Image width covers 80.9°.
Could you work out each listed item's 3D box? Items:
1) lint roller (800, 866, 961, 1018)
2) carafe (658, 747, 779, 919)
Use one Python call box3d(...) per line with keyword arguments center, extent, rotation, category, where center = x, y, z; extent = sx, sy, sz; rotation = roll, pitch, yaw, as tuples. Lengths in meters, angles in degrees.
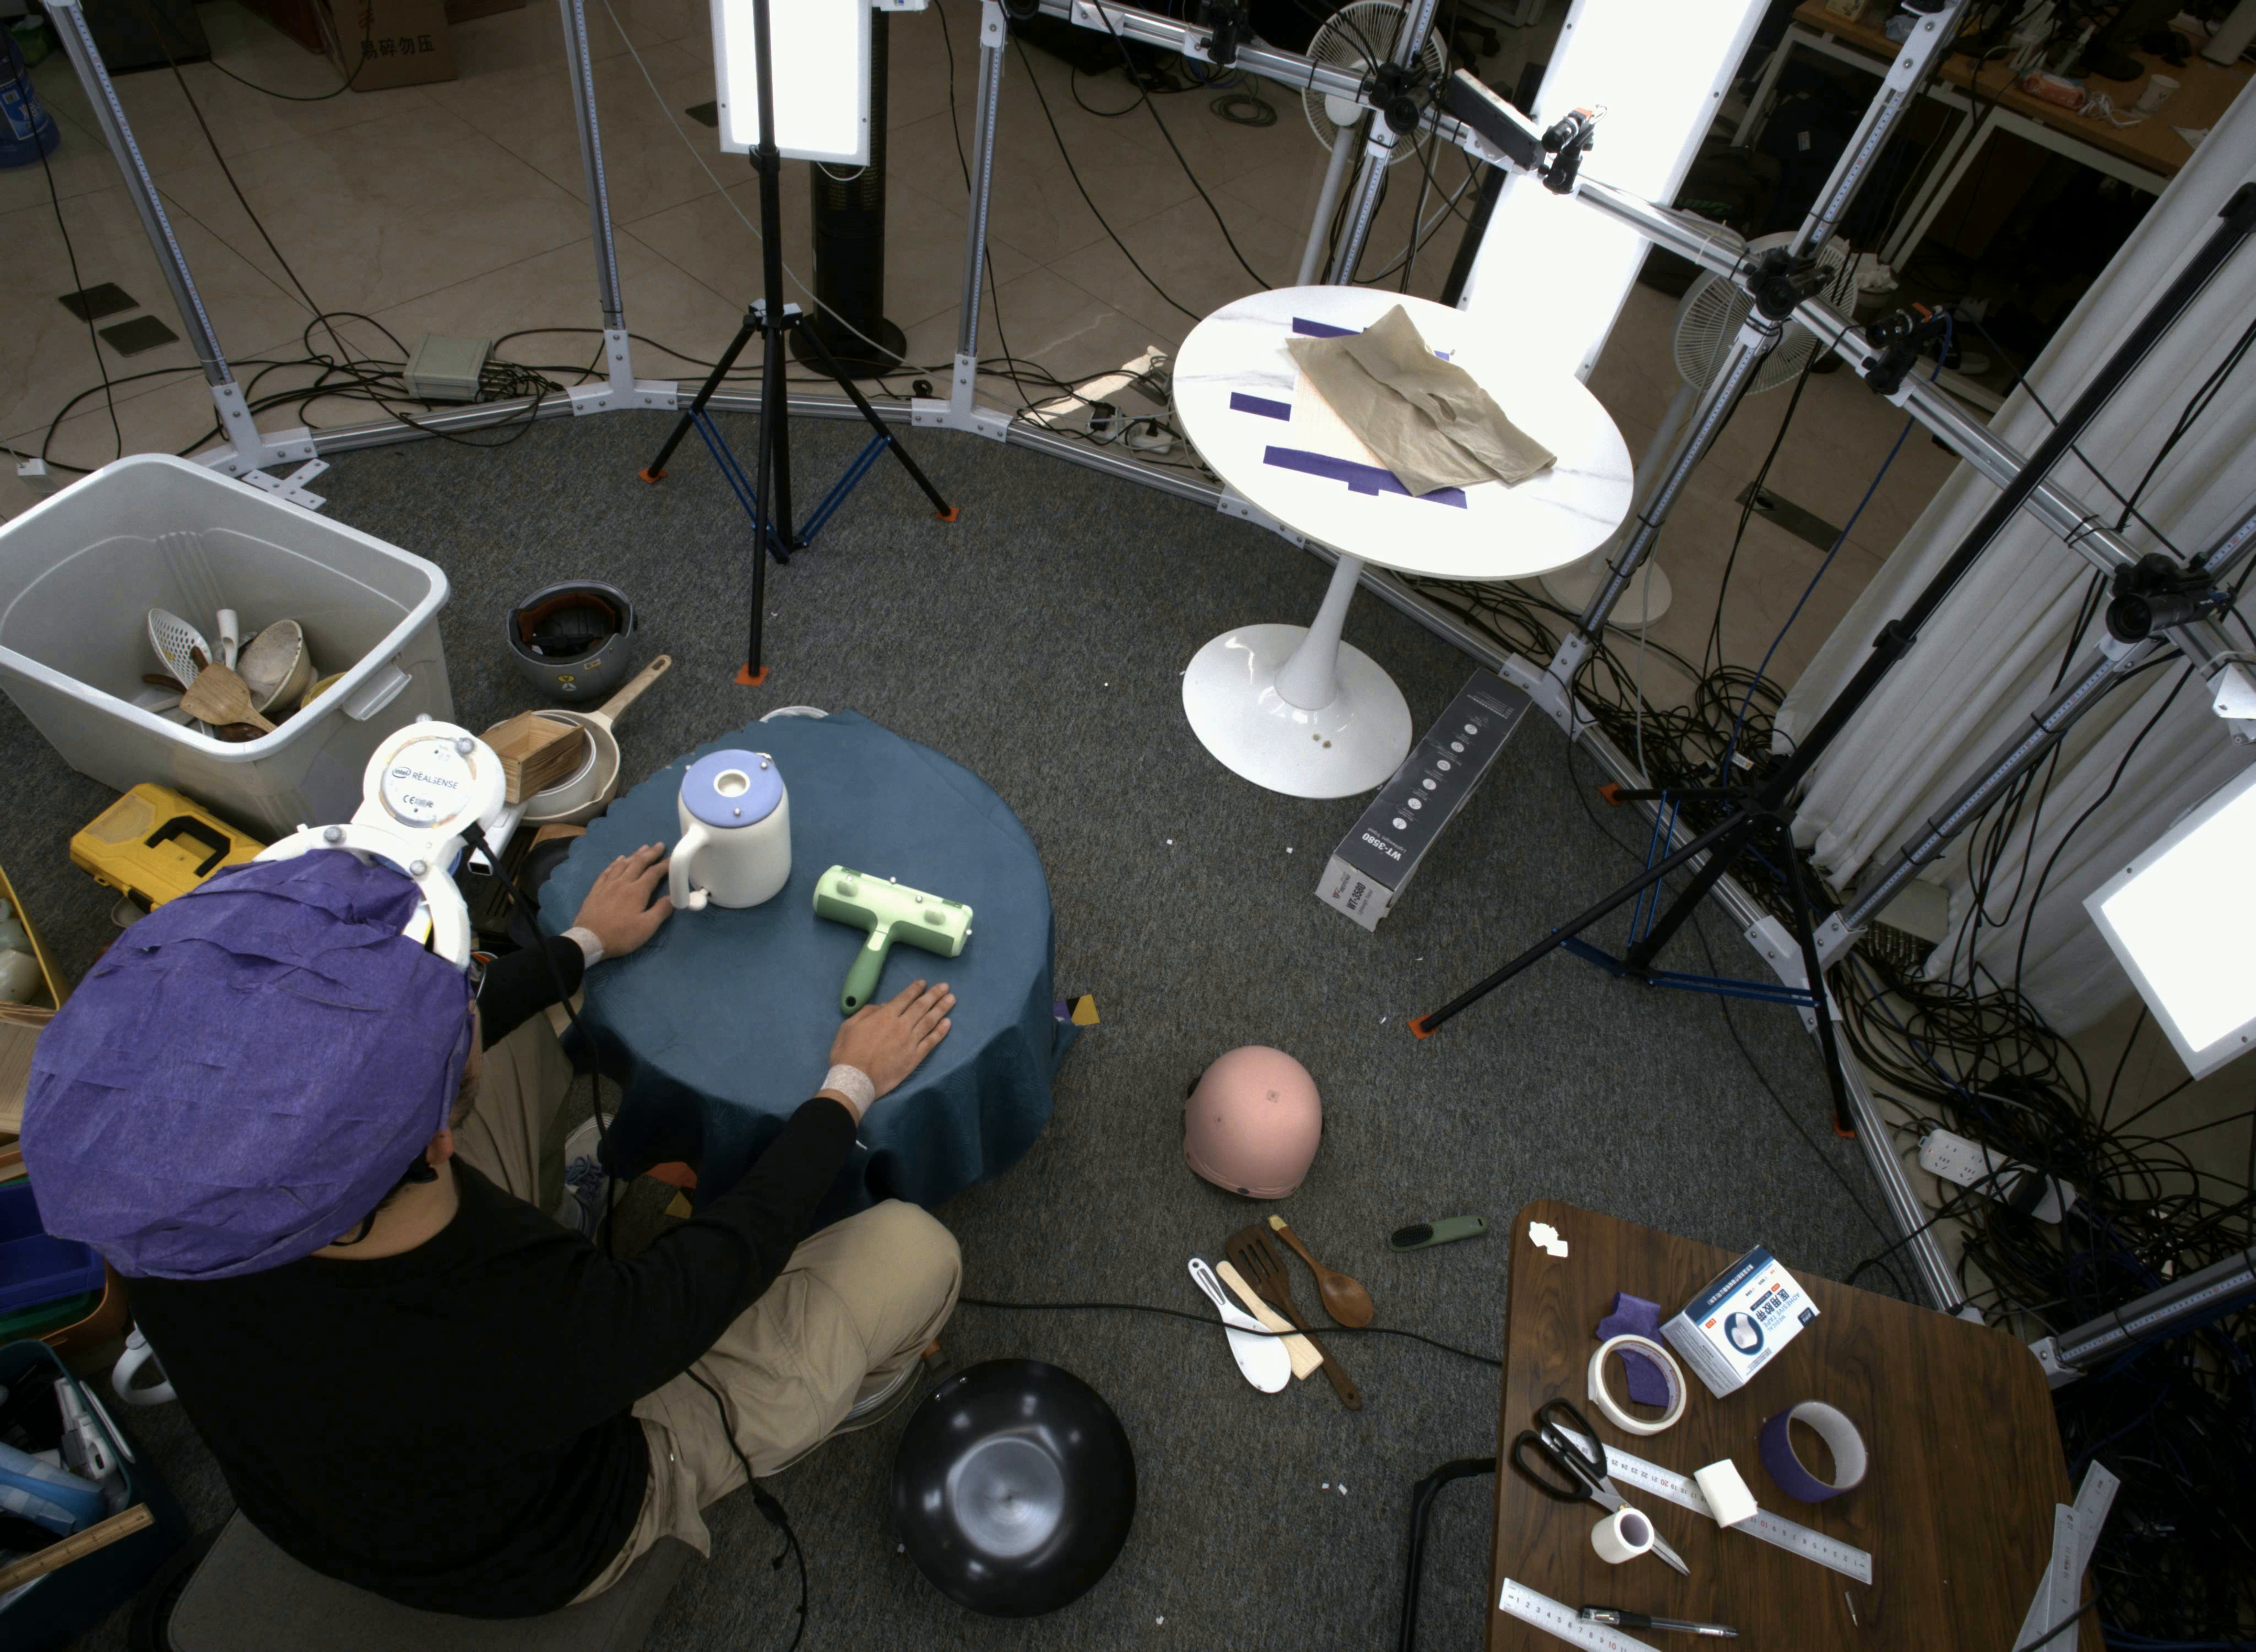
box3d(center=(-0.323, 0.141, 1.591), extent=(0.197, 0.084, 0.181), rotation=(17, 49, 0), category="lint roller")
box3d(center=(-0.509, 0.020, 1.570), extent=(0.130, 0.186, 0.190), rotation=(25, 54, 8), category="carafe")
